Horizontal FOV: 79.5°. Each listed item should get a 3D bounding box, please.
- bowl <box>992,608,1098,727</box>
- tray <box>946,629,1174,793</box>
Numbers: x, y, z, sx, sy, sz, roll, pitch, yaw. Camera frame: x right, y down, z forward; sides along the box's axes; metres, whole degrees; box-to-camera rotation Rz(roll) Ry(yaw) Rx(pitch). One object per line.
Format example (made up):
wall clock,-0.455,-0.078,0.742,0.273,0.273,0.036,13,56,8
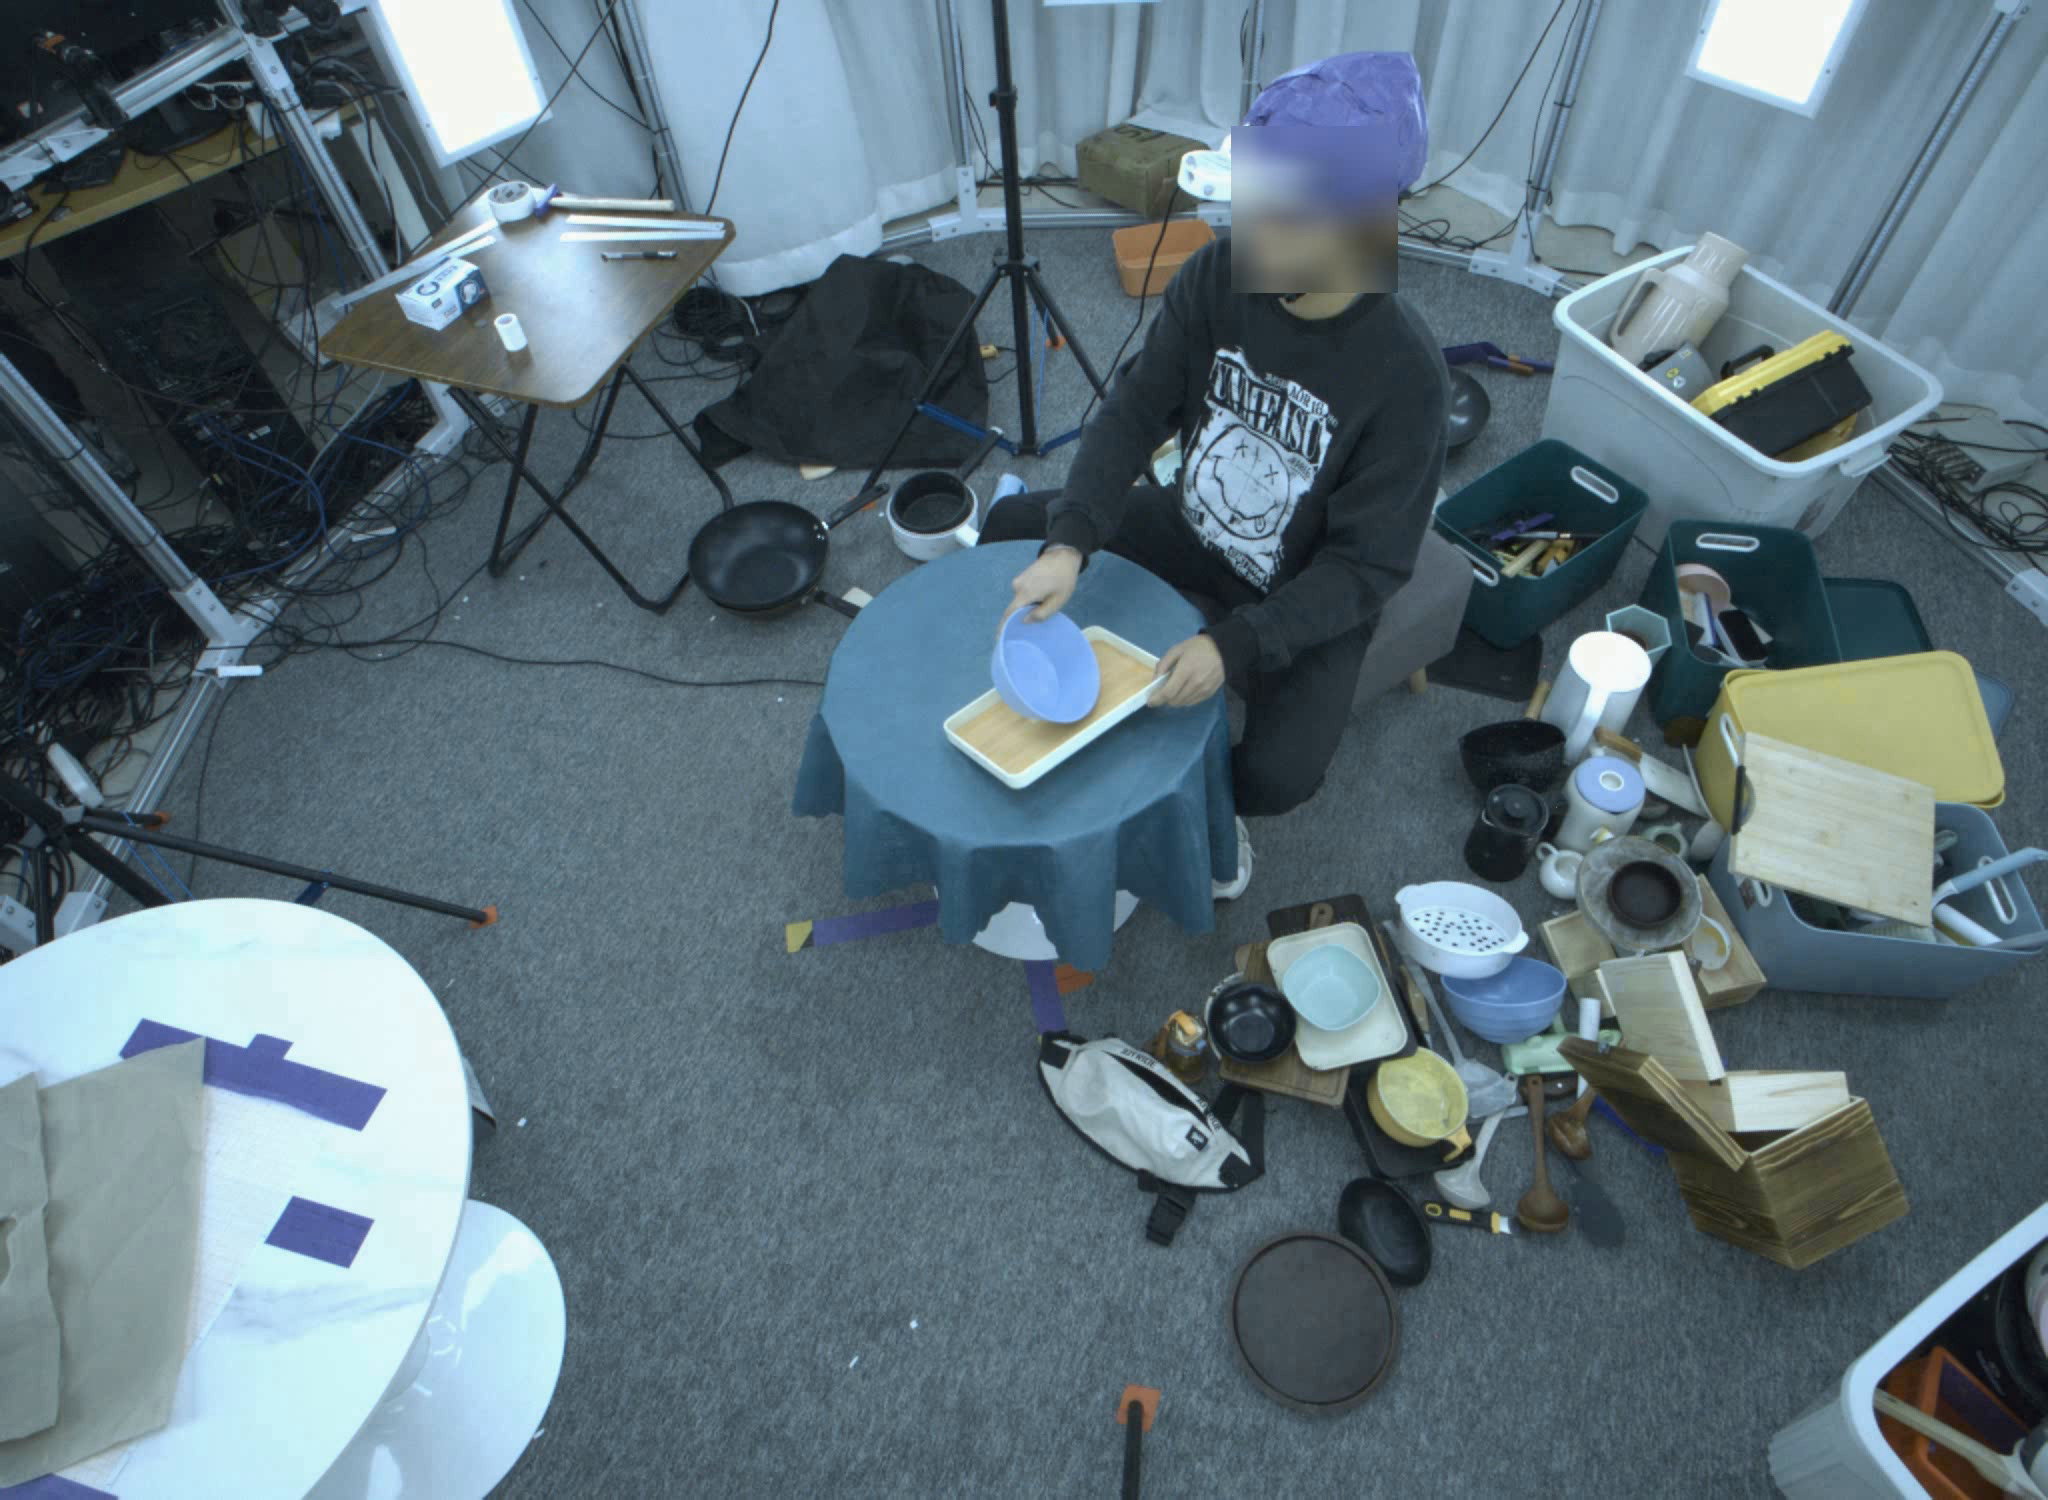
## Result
bowl,0.020,-0.108,1.745,0.180,0.069,0.175,16,65,-36
tray,0.053,-0.063,1.794,0.302,0.028,0.187,-35,44,-20
